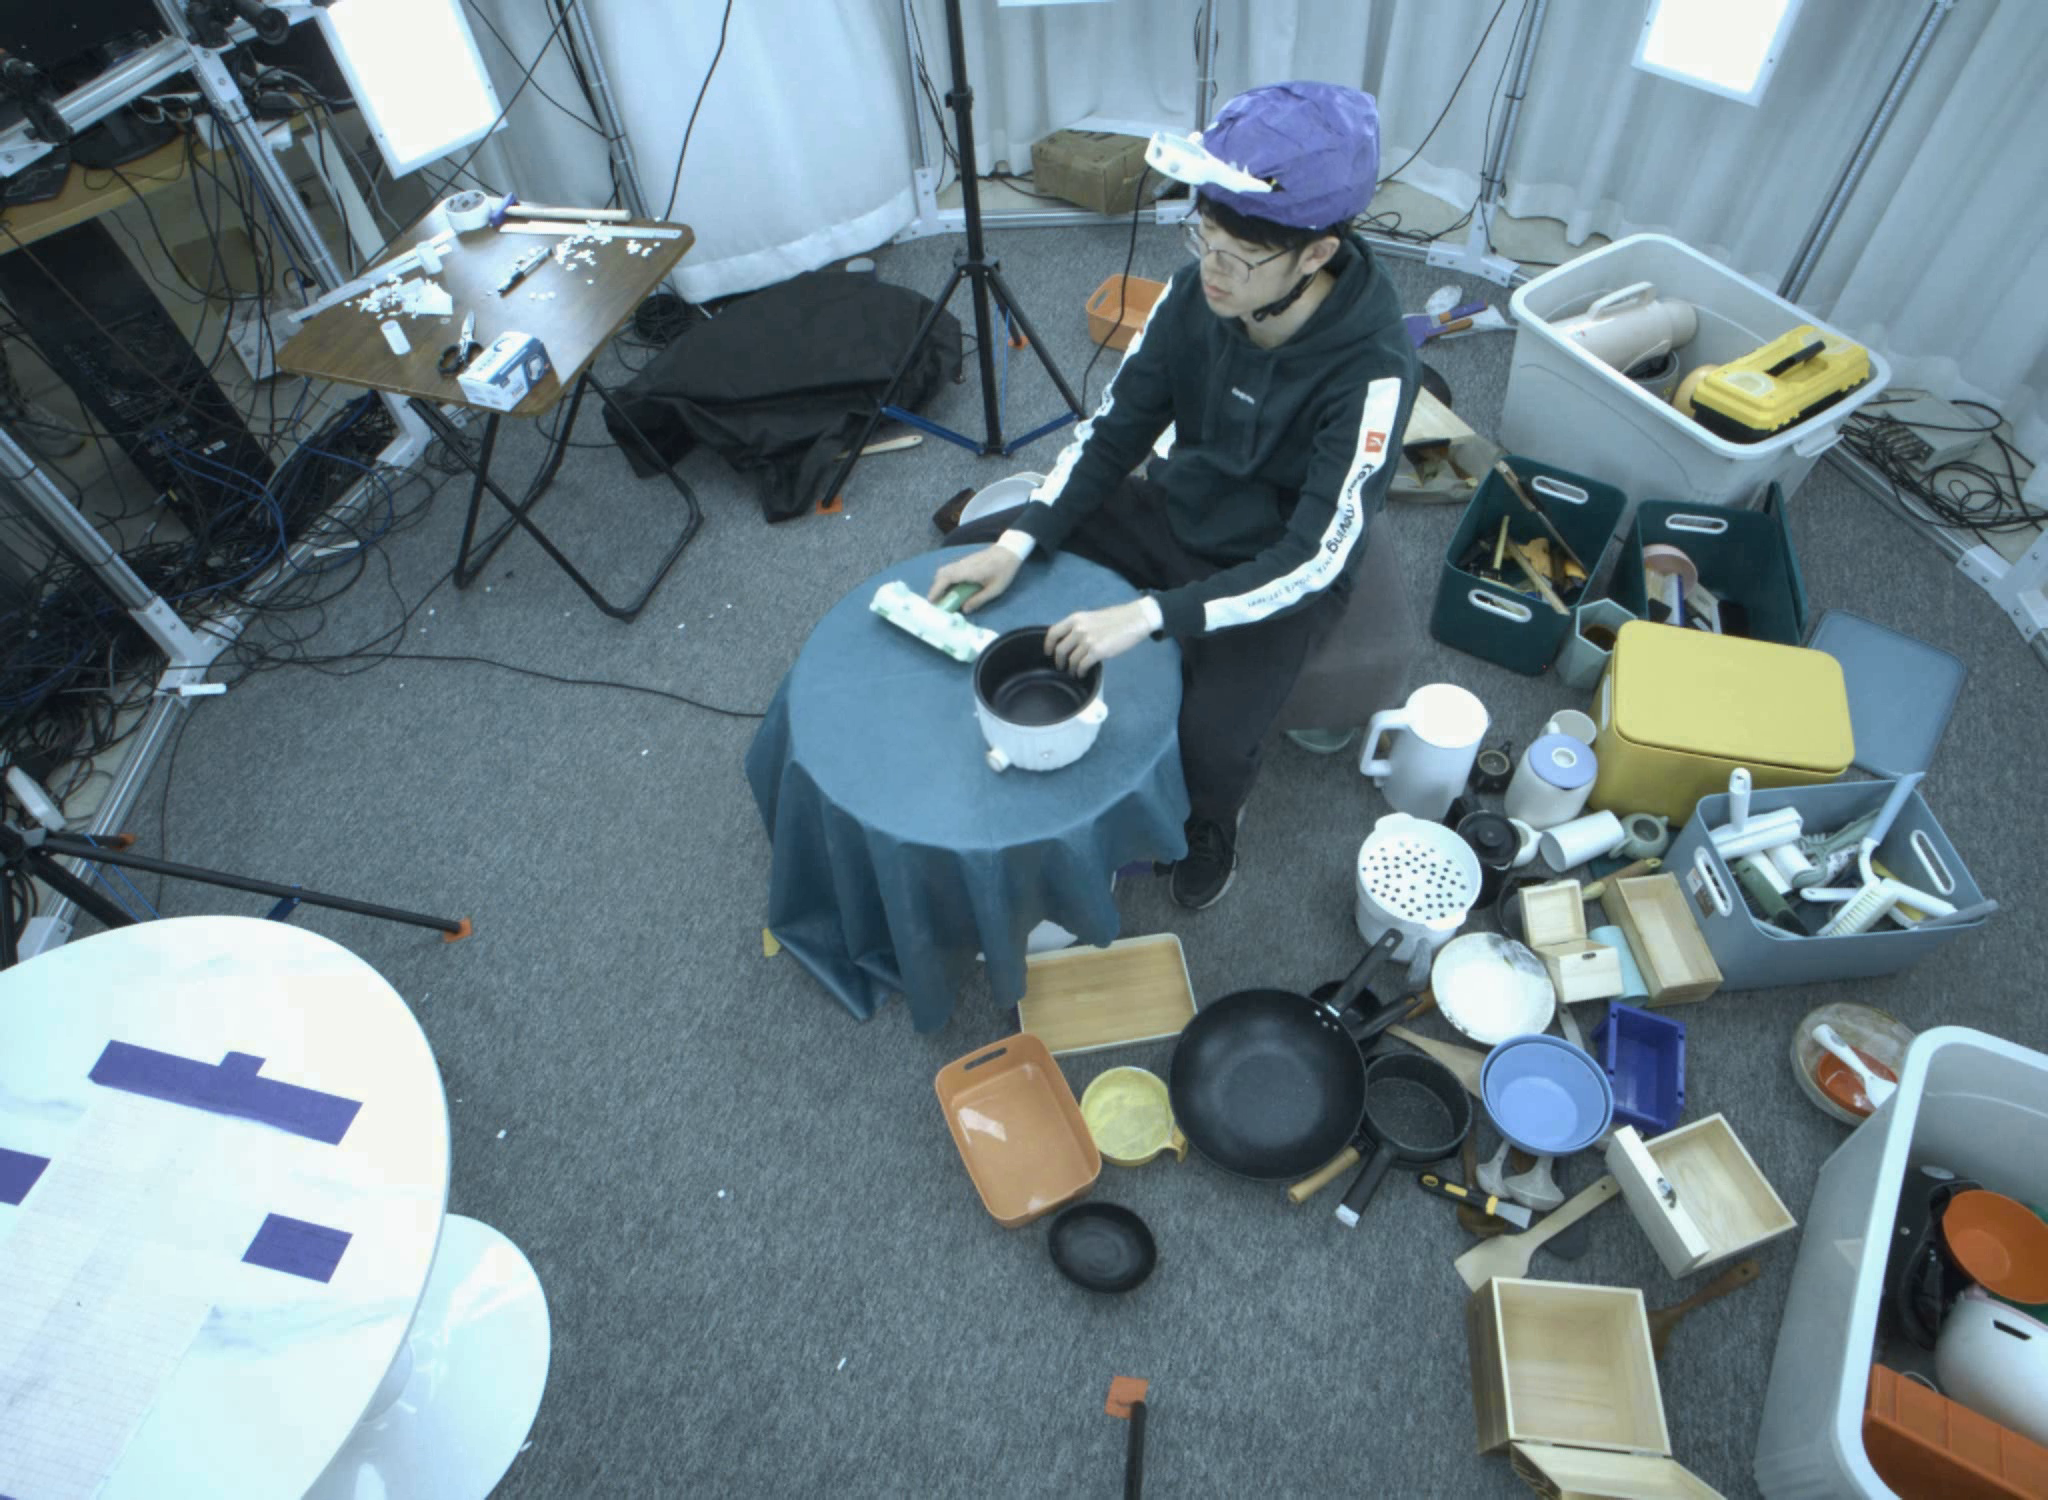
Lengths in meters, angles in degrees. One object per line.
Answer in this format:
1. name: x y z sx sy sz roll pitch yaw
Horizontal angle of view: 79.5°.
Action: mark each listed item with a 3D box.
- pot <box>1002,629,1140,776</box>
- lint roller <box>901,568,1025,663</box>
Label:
1. pot: 0.062 -0.055 1.735 0.236 0.144 0.192 36 60 26
2. lint roller: -0.065 -0.240 1.908 0.195 0.083 0.184 33 68 23
